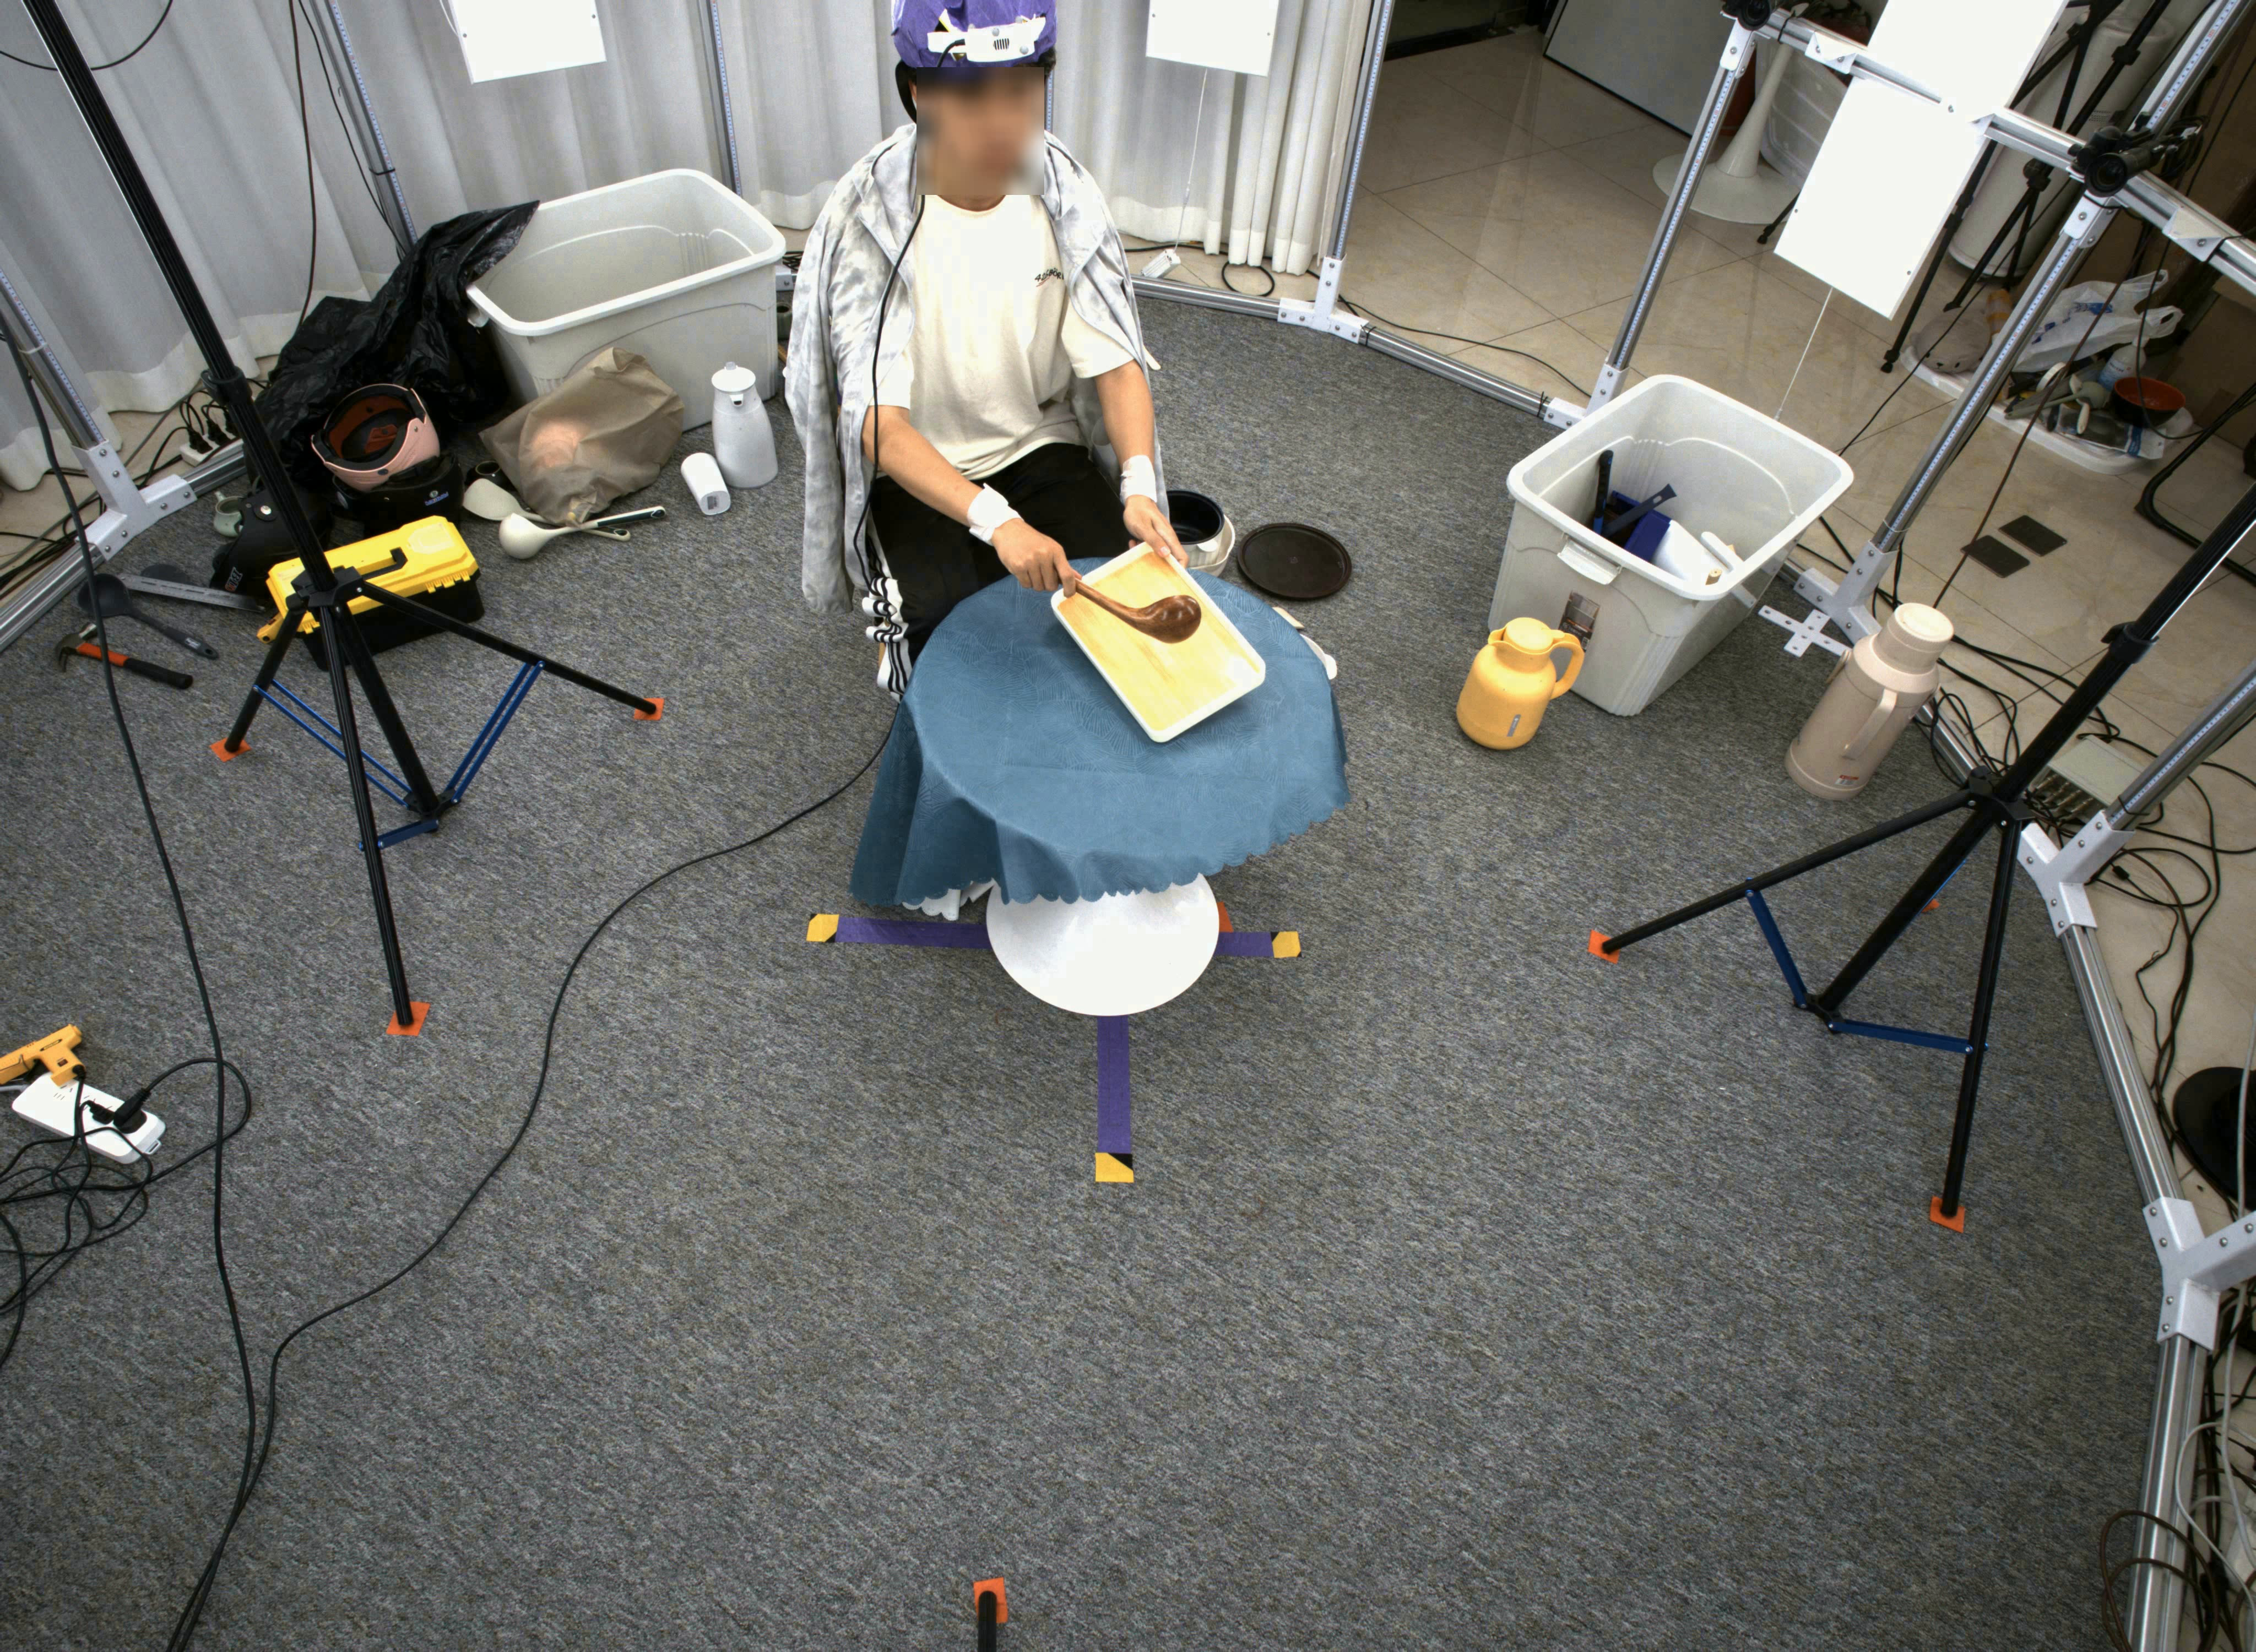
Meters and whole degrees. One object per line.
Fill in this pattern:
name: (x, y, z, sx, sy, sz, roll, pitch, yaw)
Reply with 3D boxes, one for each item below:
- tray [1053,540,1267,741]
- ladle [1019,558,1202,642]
tray: (0.043, -0.270, 1.835, 0.192, 0.027, 0.306, -31, 60, -9)
ladle: (-0.023, -0.333, 1.794, 0.277, 0.080, 0.077, 30, 54, 24)
